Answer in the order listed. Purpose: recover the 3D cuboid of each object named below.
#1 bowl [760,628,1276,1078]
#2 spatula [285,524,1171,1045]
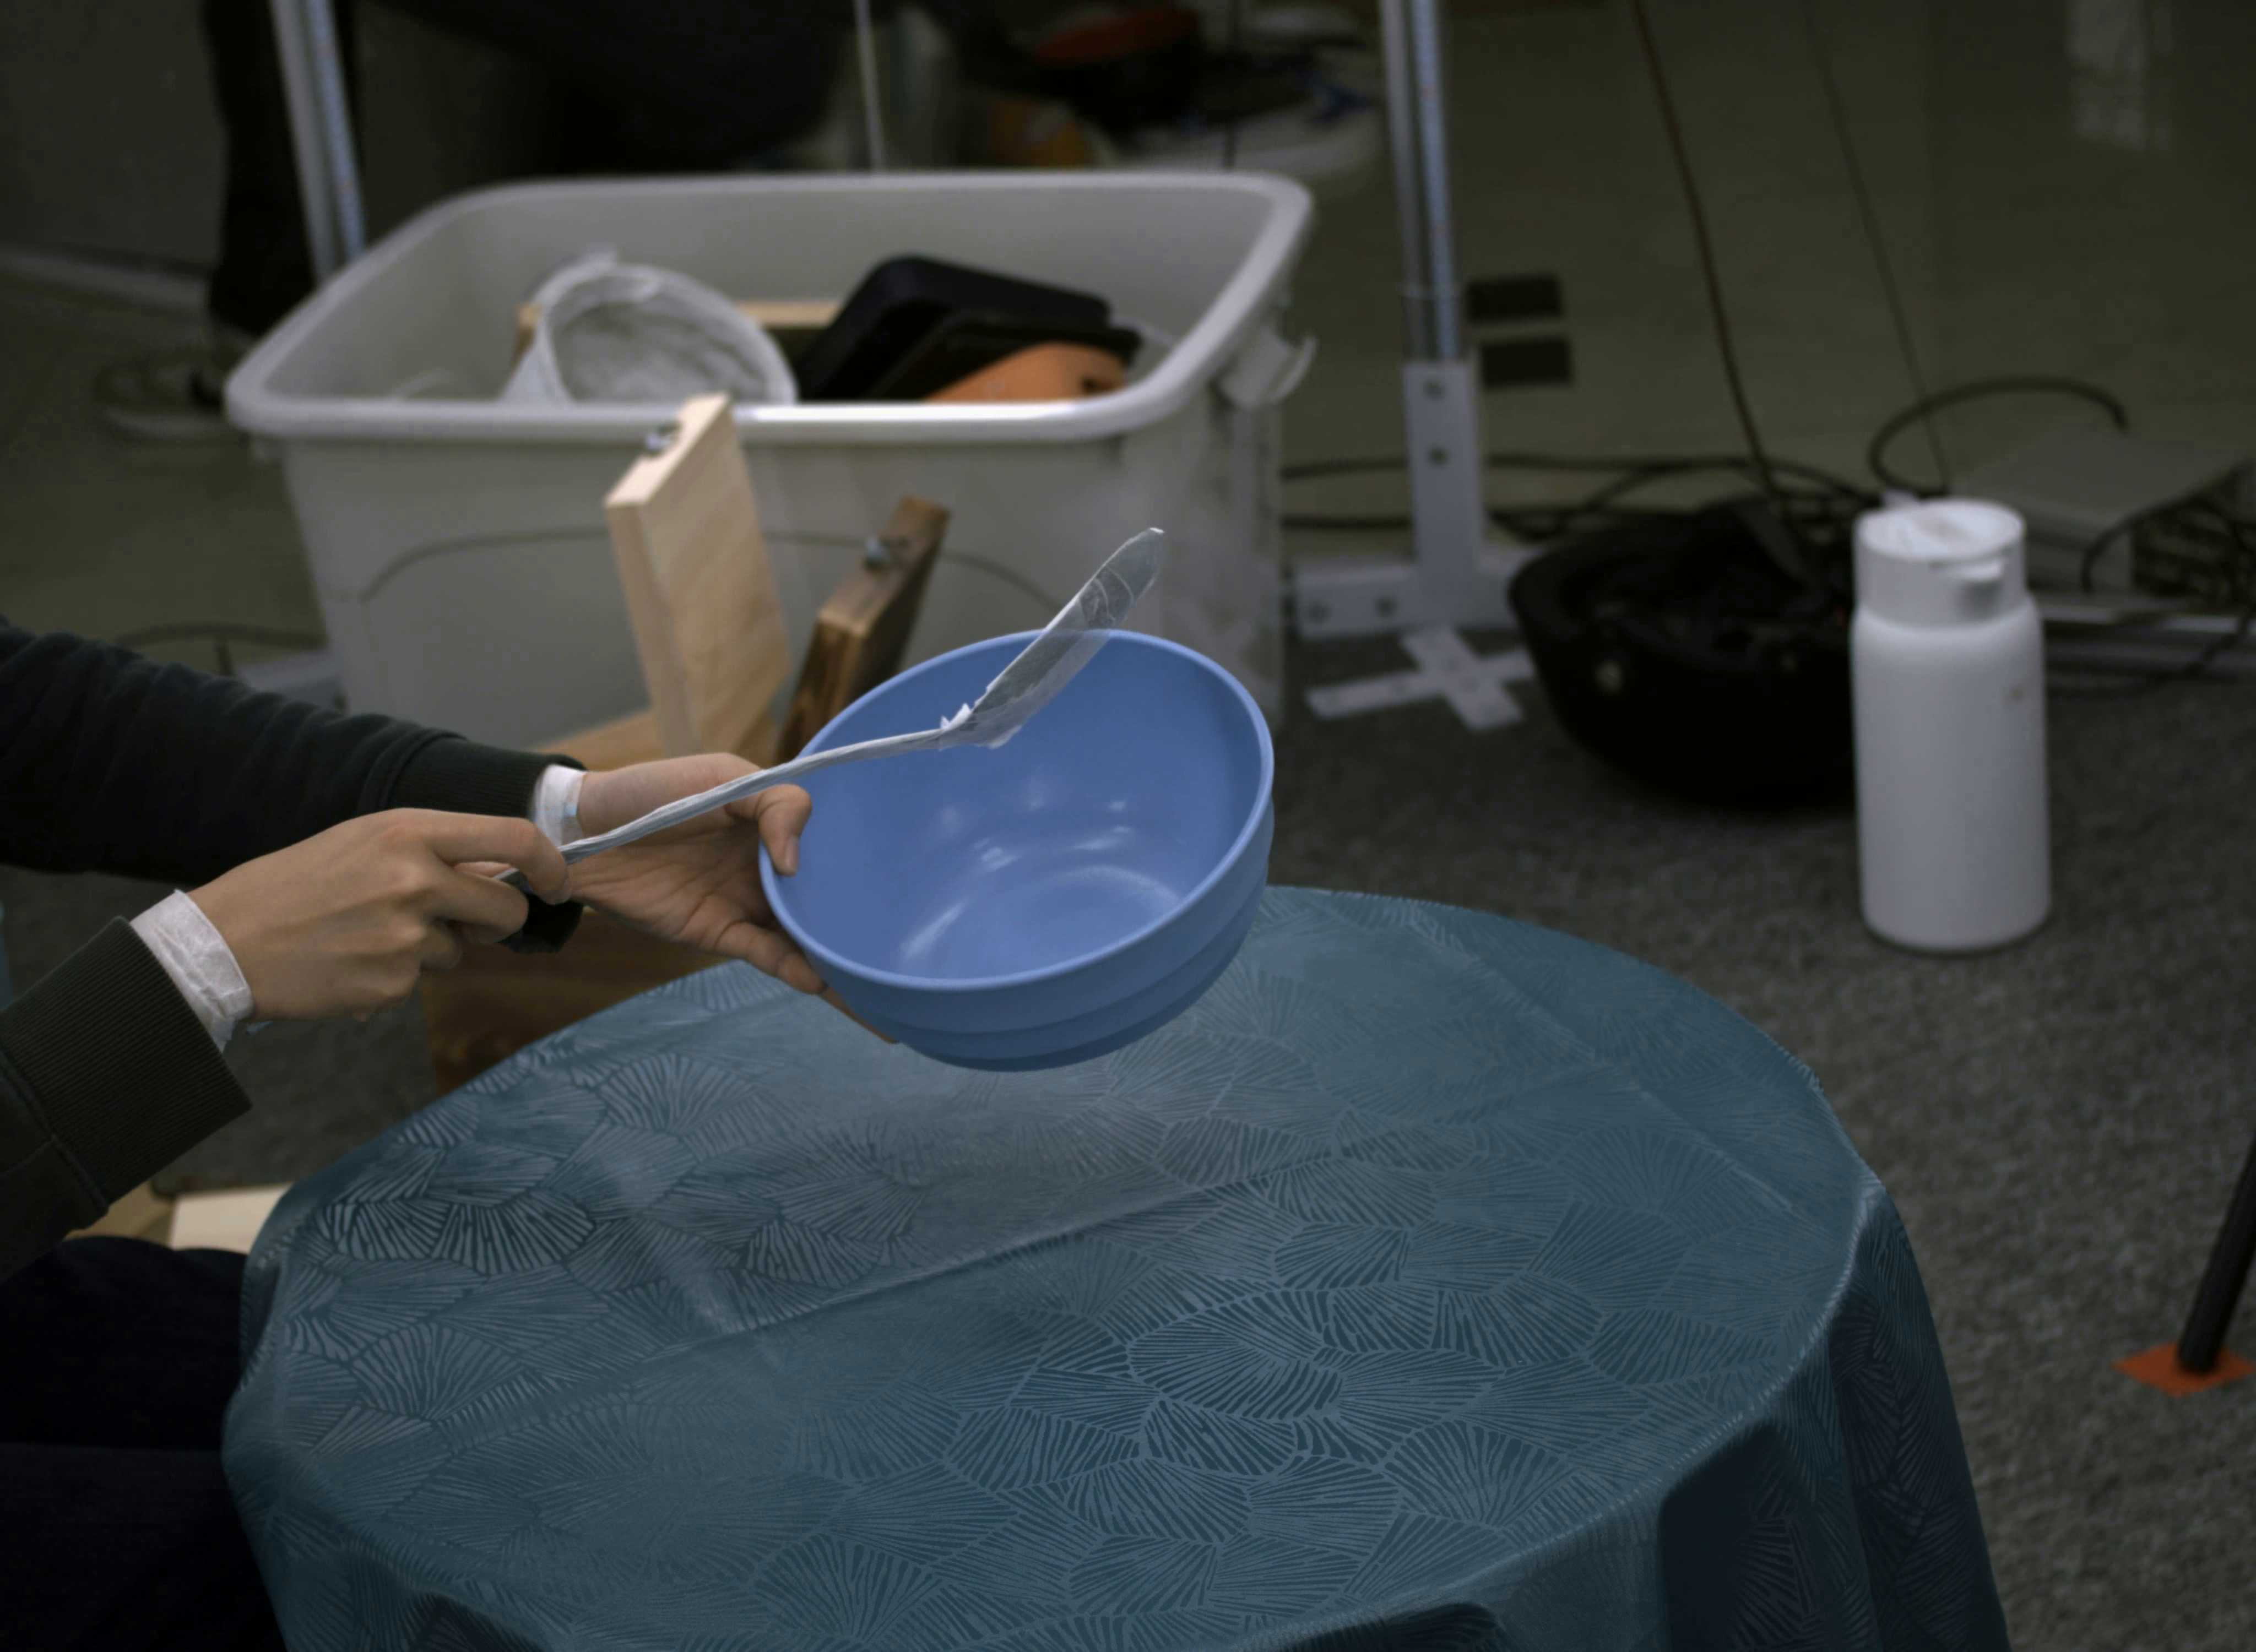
[{"bbox_3d":[-0.032,0.026,2.127,0.196,0.097,0.193,-9,43,8],"label":"bowl"},{"bbox_3d":[-0.143,-0.014,2.033,0.364,0.044,0.099,-23,-10,-7],"label":"spatula"}]
